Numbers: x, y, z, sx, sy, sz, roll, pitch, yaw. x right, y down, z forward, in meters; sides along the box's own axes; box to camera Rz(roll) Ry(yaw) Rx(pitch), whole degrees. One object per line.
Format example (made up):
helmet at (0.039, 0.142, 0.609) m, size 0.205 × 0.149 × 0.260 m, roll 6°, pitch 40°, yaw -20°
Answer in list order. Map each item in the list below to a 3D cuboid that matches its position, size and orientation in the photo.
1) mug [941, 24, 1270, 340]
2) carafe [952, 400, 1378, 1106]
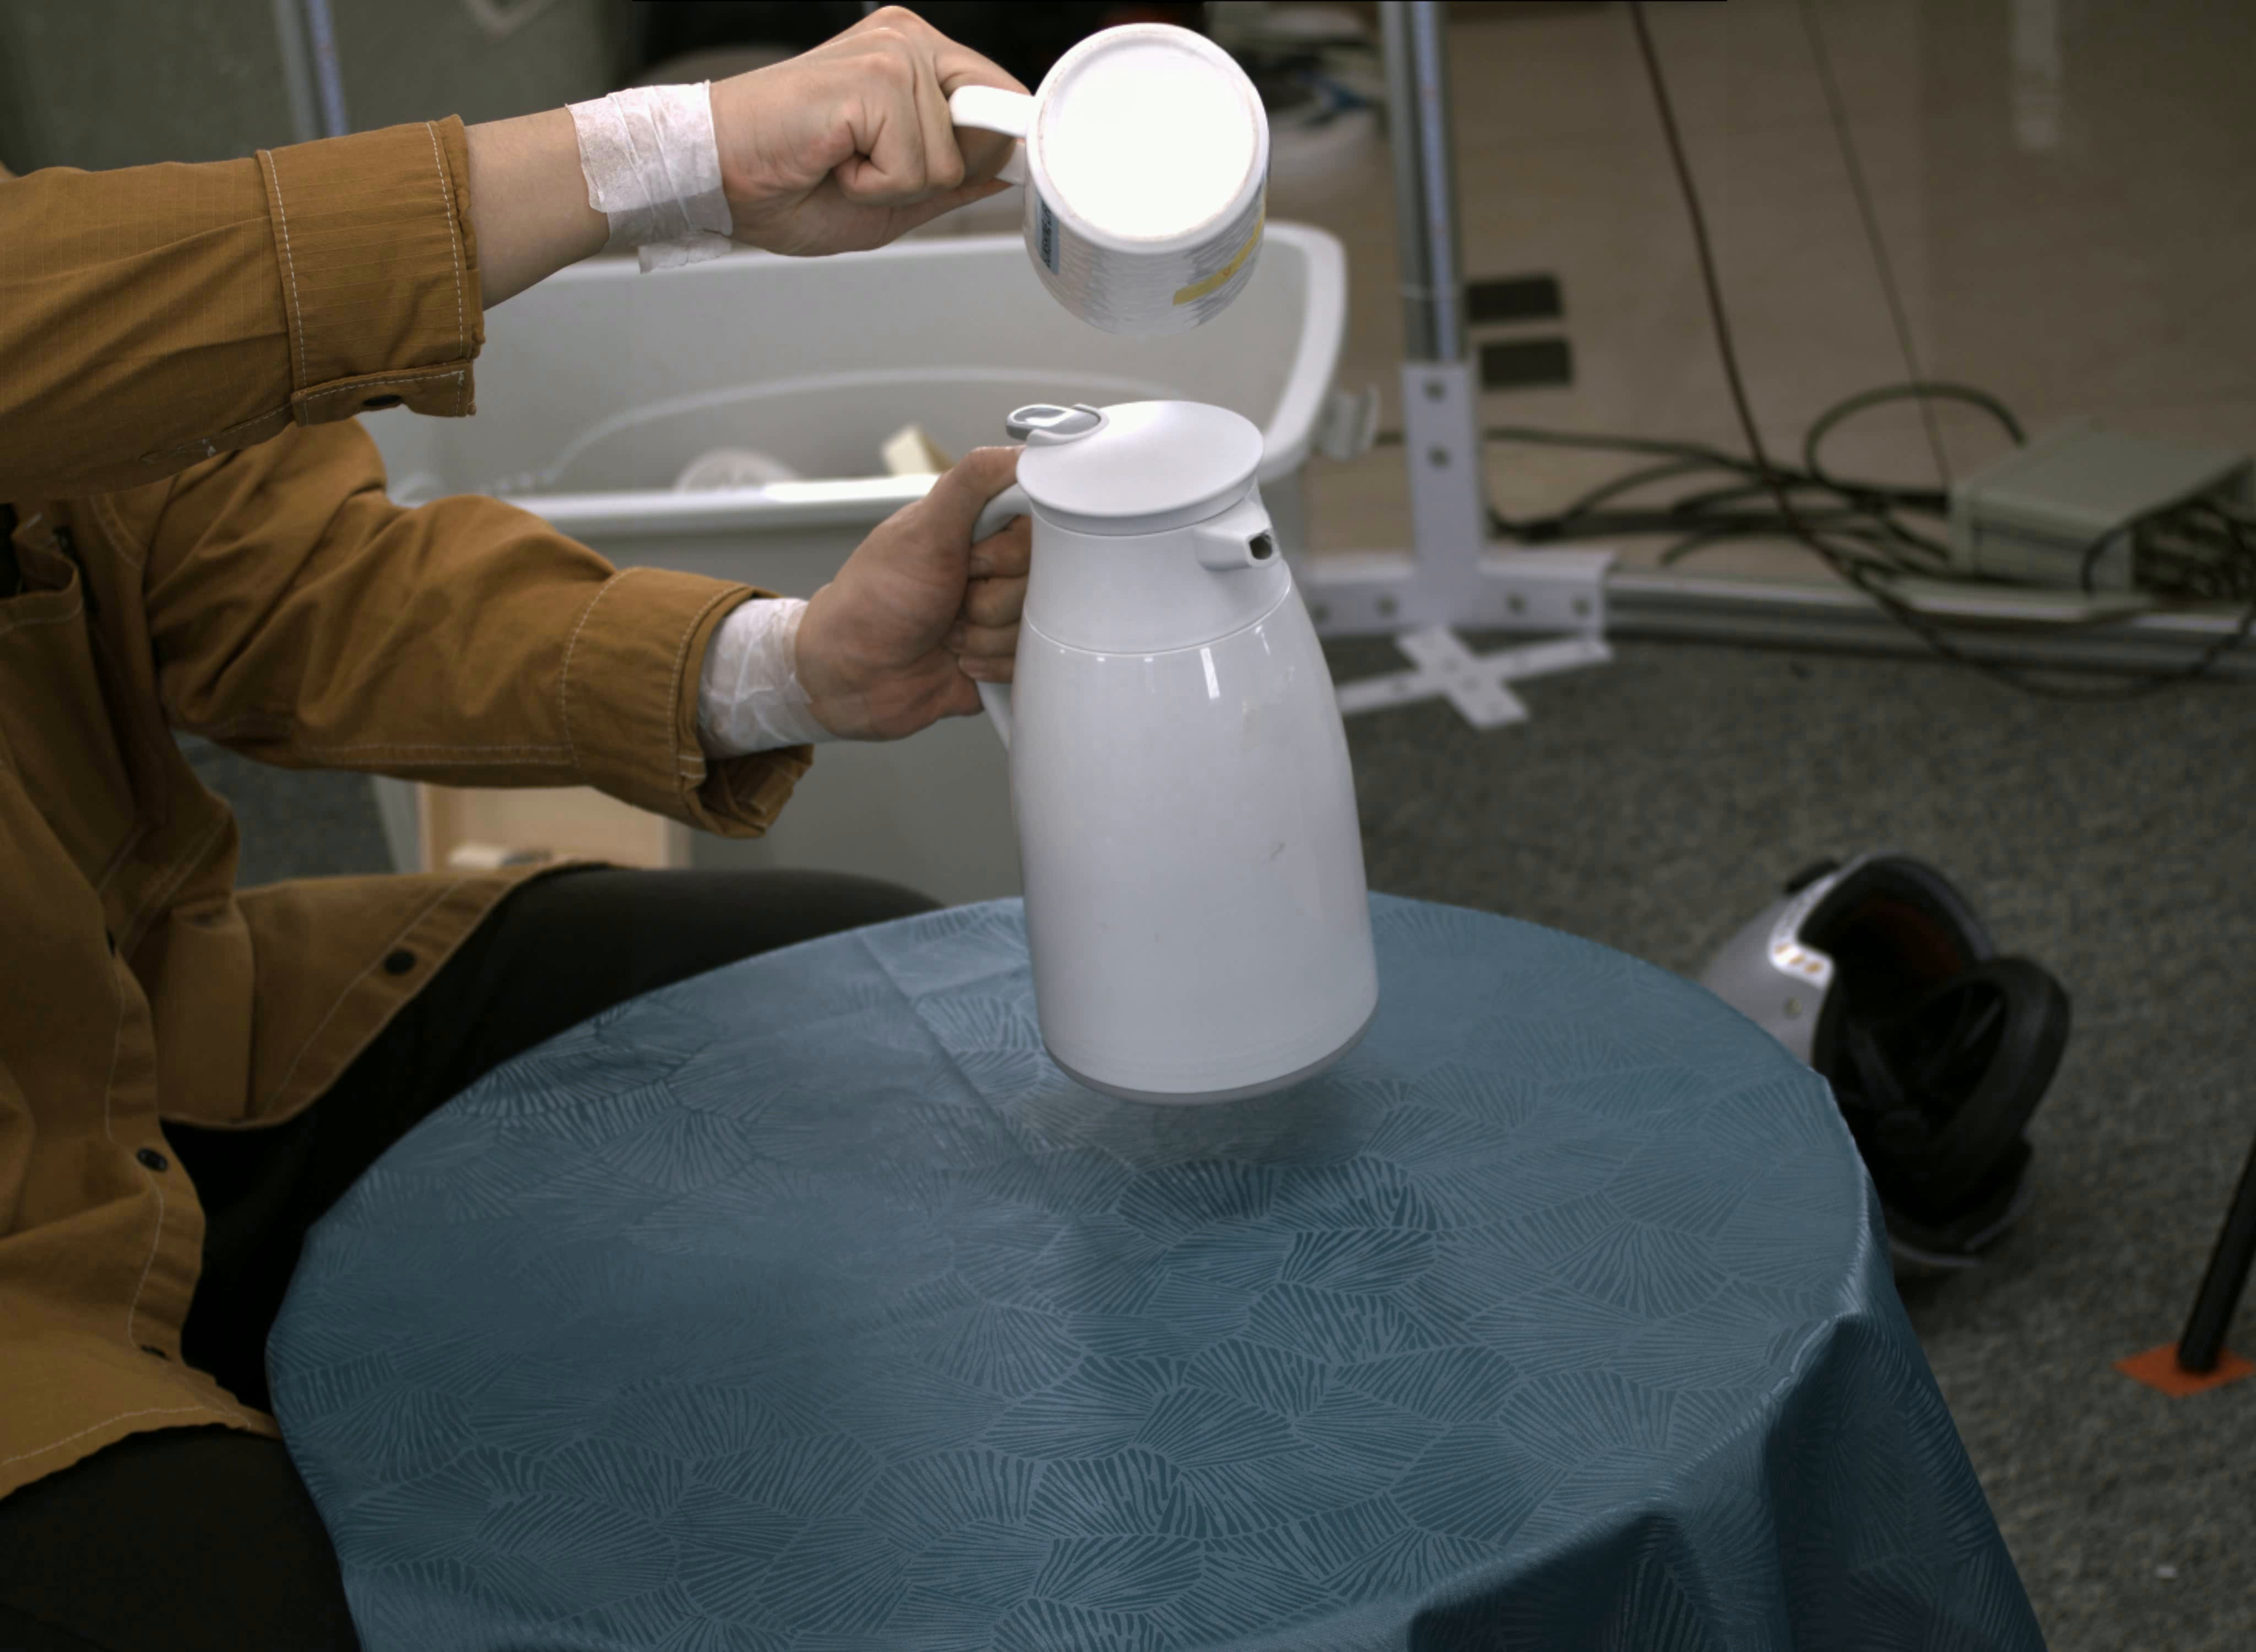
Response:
mug at (-0.009, -0.230, 1.965) m, size 0.118 × 0.084 × 0.102 m, roll 21°, pitch -10°, yaw 3°
carafe at (0.003, -0.039, 2.125) m, size 0.166 × 0.253 × 0.131 m, roll 21°, pitch 41°, yaw 39°
